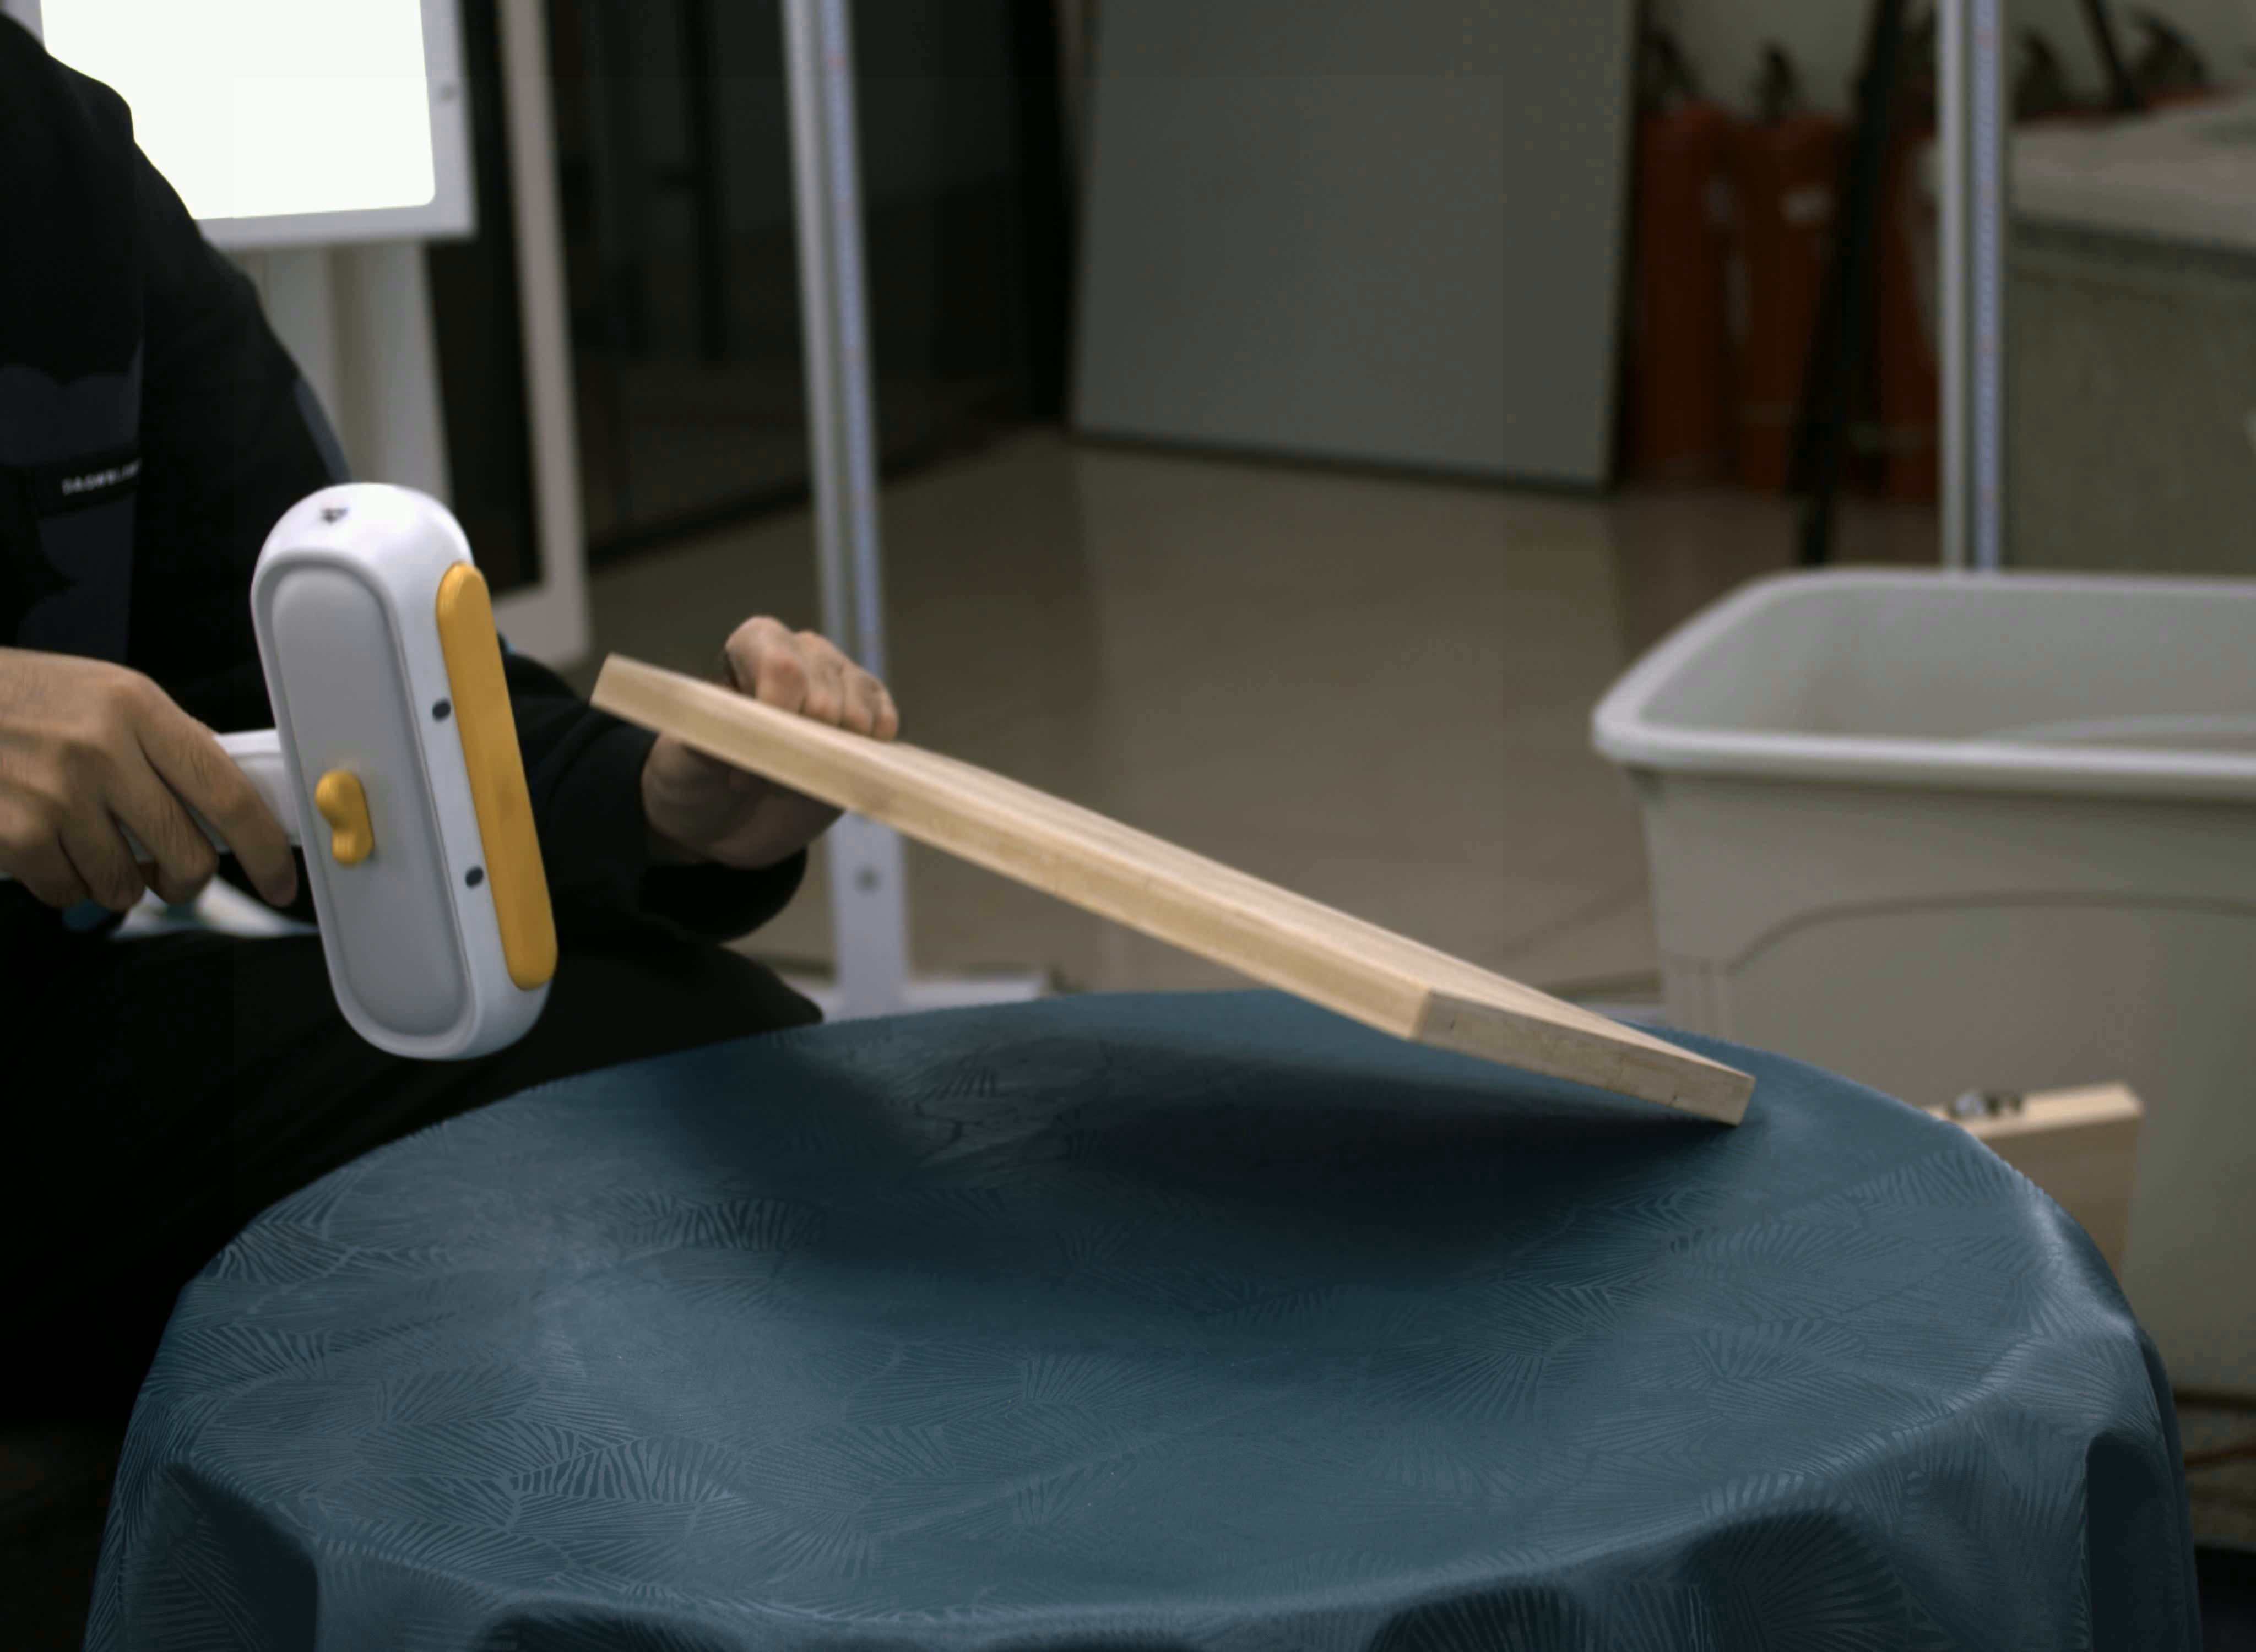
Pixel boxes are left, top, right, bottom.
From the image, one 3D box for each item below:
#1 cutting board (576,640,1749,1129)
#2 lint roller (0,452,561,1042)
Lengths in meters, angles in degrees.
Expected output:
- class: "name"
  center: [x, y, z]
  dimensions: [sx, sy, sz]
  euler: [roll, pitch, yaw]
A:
- class: "cutting board"
  center: [0.012, 0.020, 1.797]
  dimensions: [0.351, 0.024, 0.246]
  euler: [22, 1, 33]
- class: "lint roller"
  center: [-0.287, -0.014, 1.735]
  dimensions: [0.192, 0.194, 0.074]
  euler: [-6, 23, 20]
